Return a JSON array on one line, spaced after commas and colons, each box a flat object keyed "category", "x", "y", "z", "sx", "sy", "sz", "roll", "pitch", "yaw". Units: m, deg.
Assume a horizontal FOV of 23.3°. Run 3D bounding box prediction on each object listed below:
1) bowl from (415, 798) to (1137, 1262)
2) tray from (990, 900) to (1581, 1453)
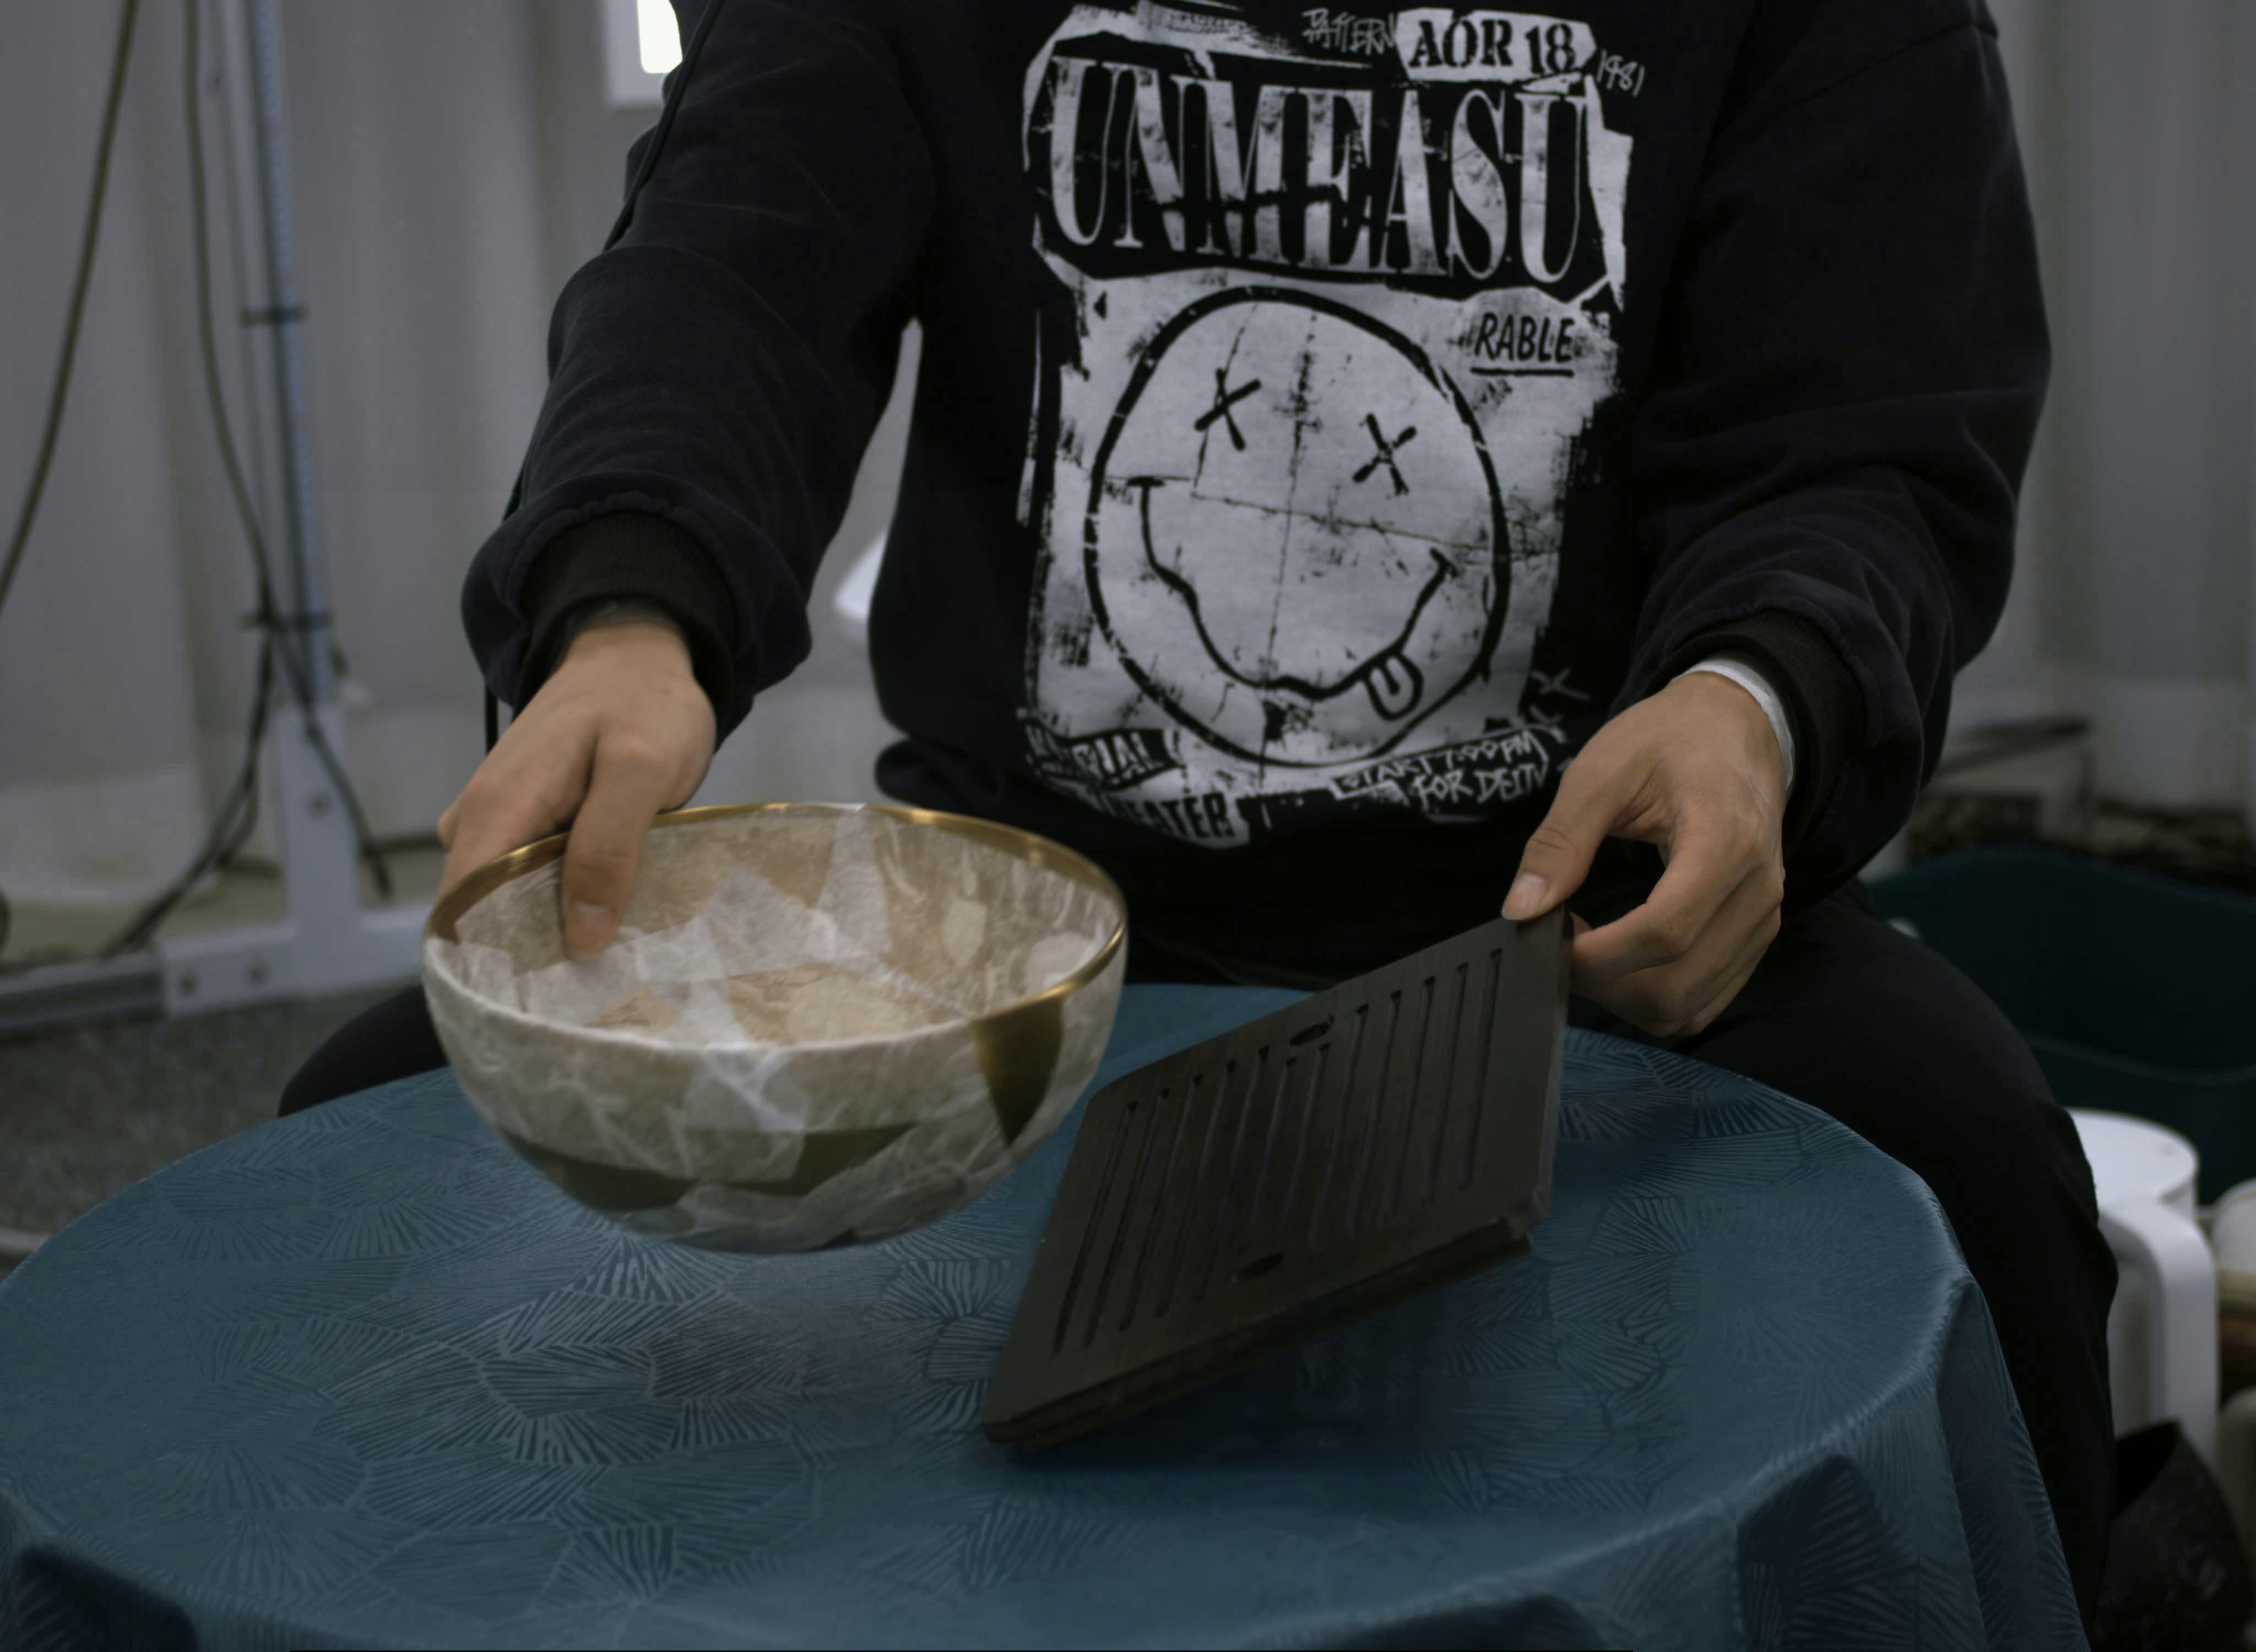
[{"category": "bowl", "x": -0.098, "y": 0.068, "z": 1.567, "sx": 0.214, "sy": 0.094, "sz": 0.216, "roll": -1, "pitch": 19, "yaw": 0}, {"category": "tray", "x": 0.055, "y": 0.100, "z": 1.614, "sx": 0.169, "sy": 0.018, "sz": 0.308, "roll": -23, "pitch": 12, "yaw": 11}]
